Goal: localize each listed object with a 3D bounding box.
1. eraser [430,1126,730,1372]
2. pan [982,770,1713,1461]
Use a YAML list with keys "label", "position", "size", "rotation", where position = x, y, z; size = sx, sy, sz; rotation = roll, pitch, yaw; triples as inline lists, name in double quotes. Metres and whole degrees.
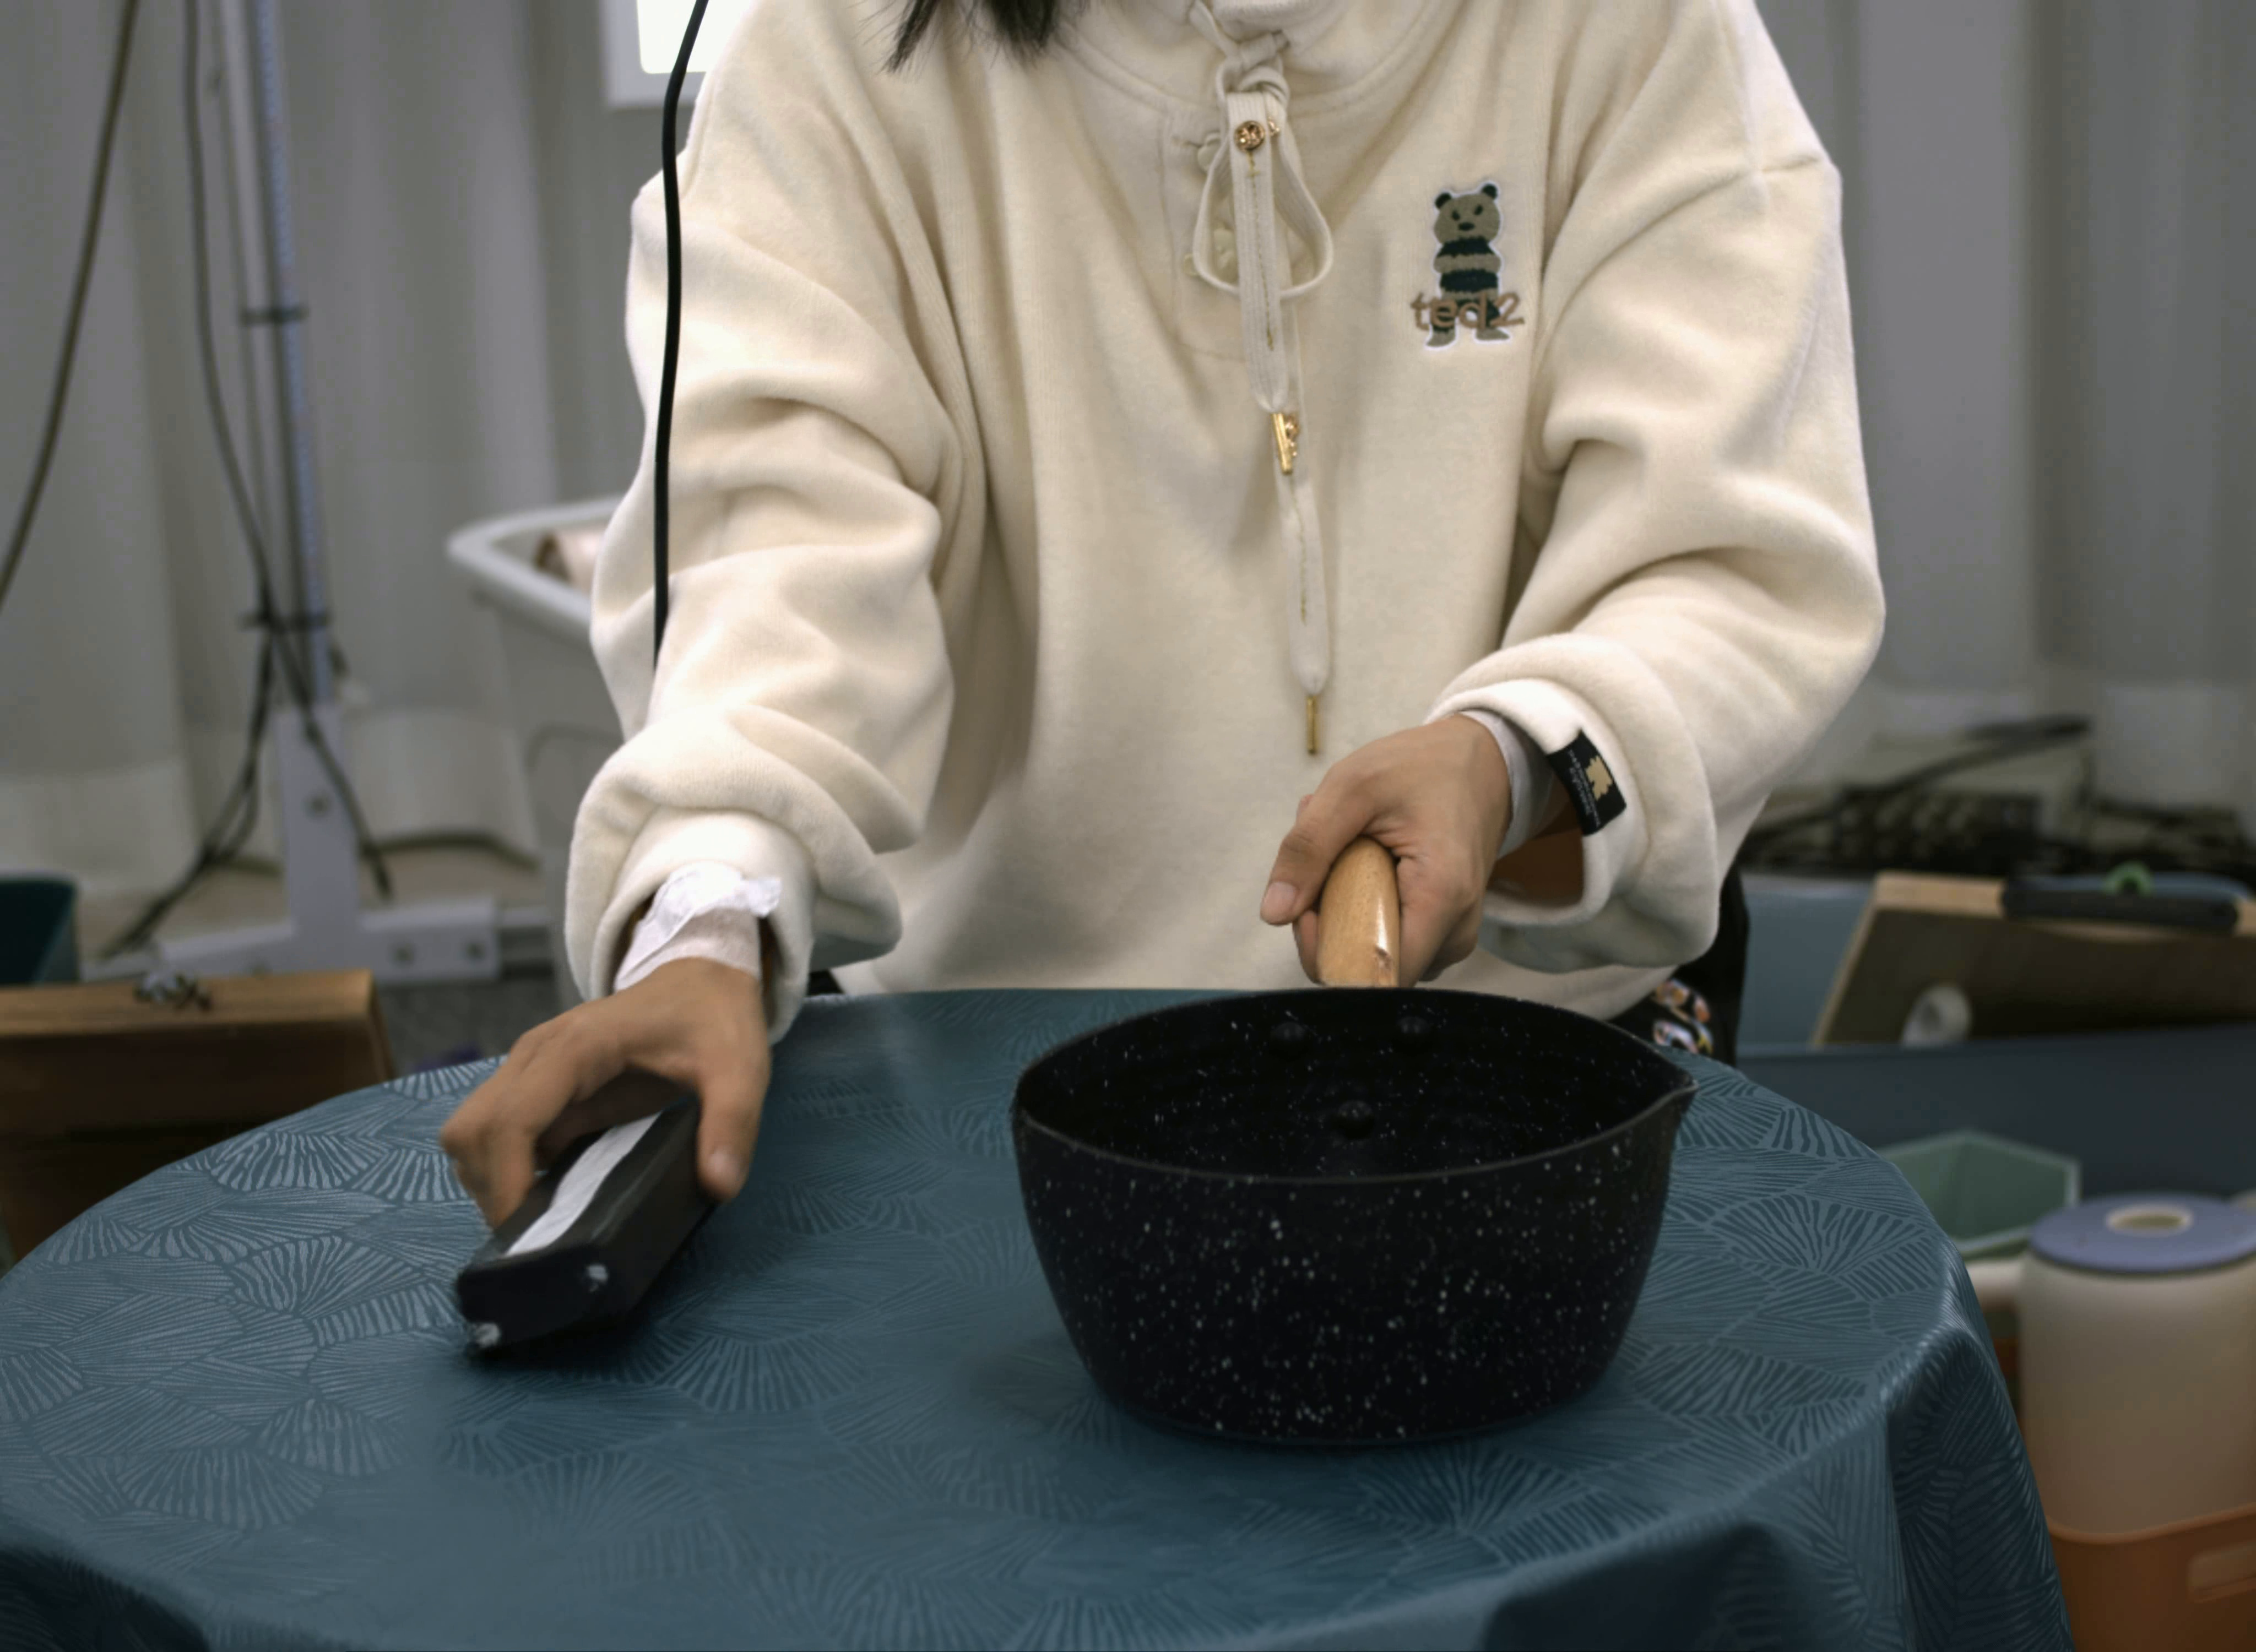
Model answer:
- label: "eraser"
  position: [-0.161, 0.125, 1.629]
  size: [0.053, 0.030, 0.126]
  rotation: [-12, 13, 16]
- label: "pan"
  position: [0.066, 0.080, 1.619]
  size: [0.207, 0.108, 0.345]
  rotation: [-2, 16, 4]
